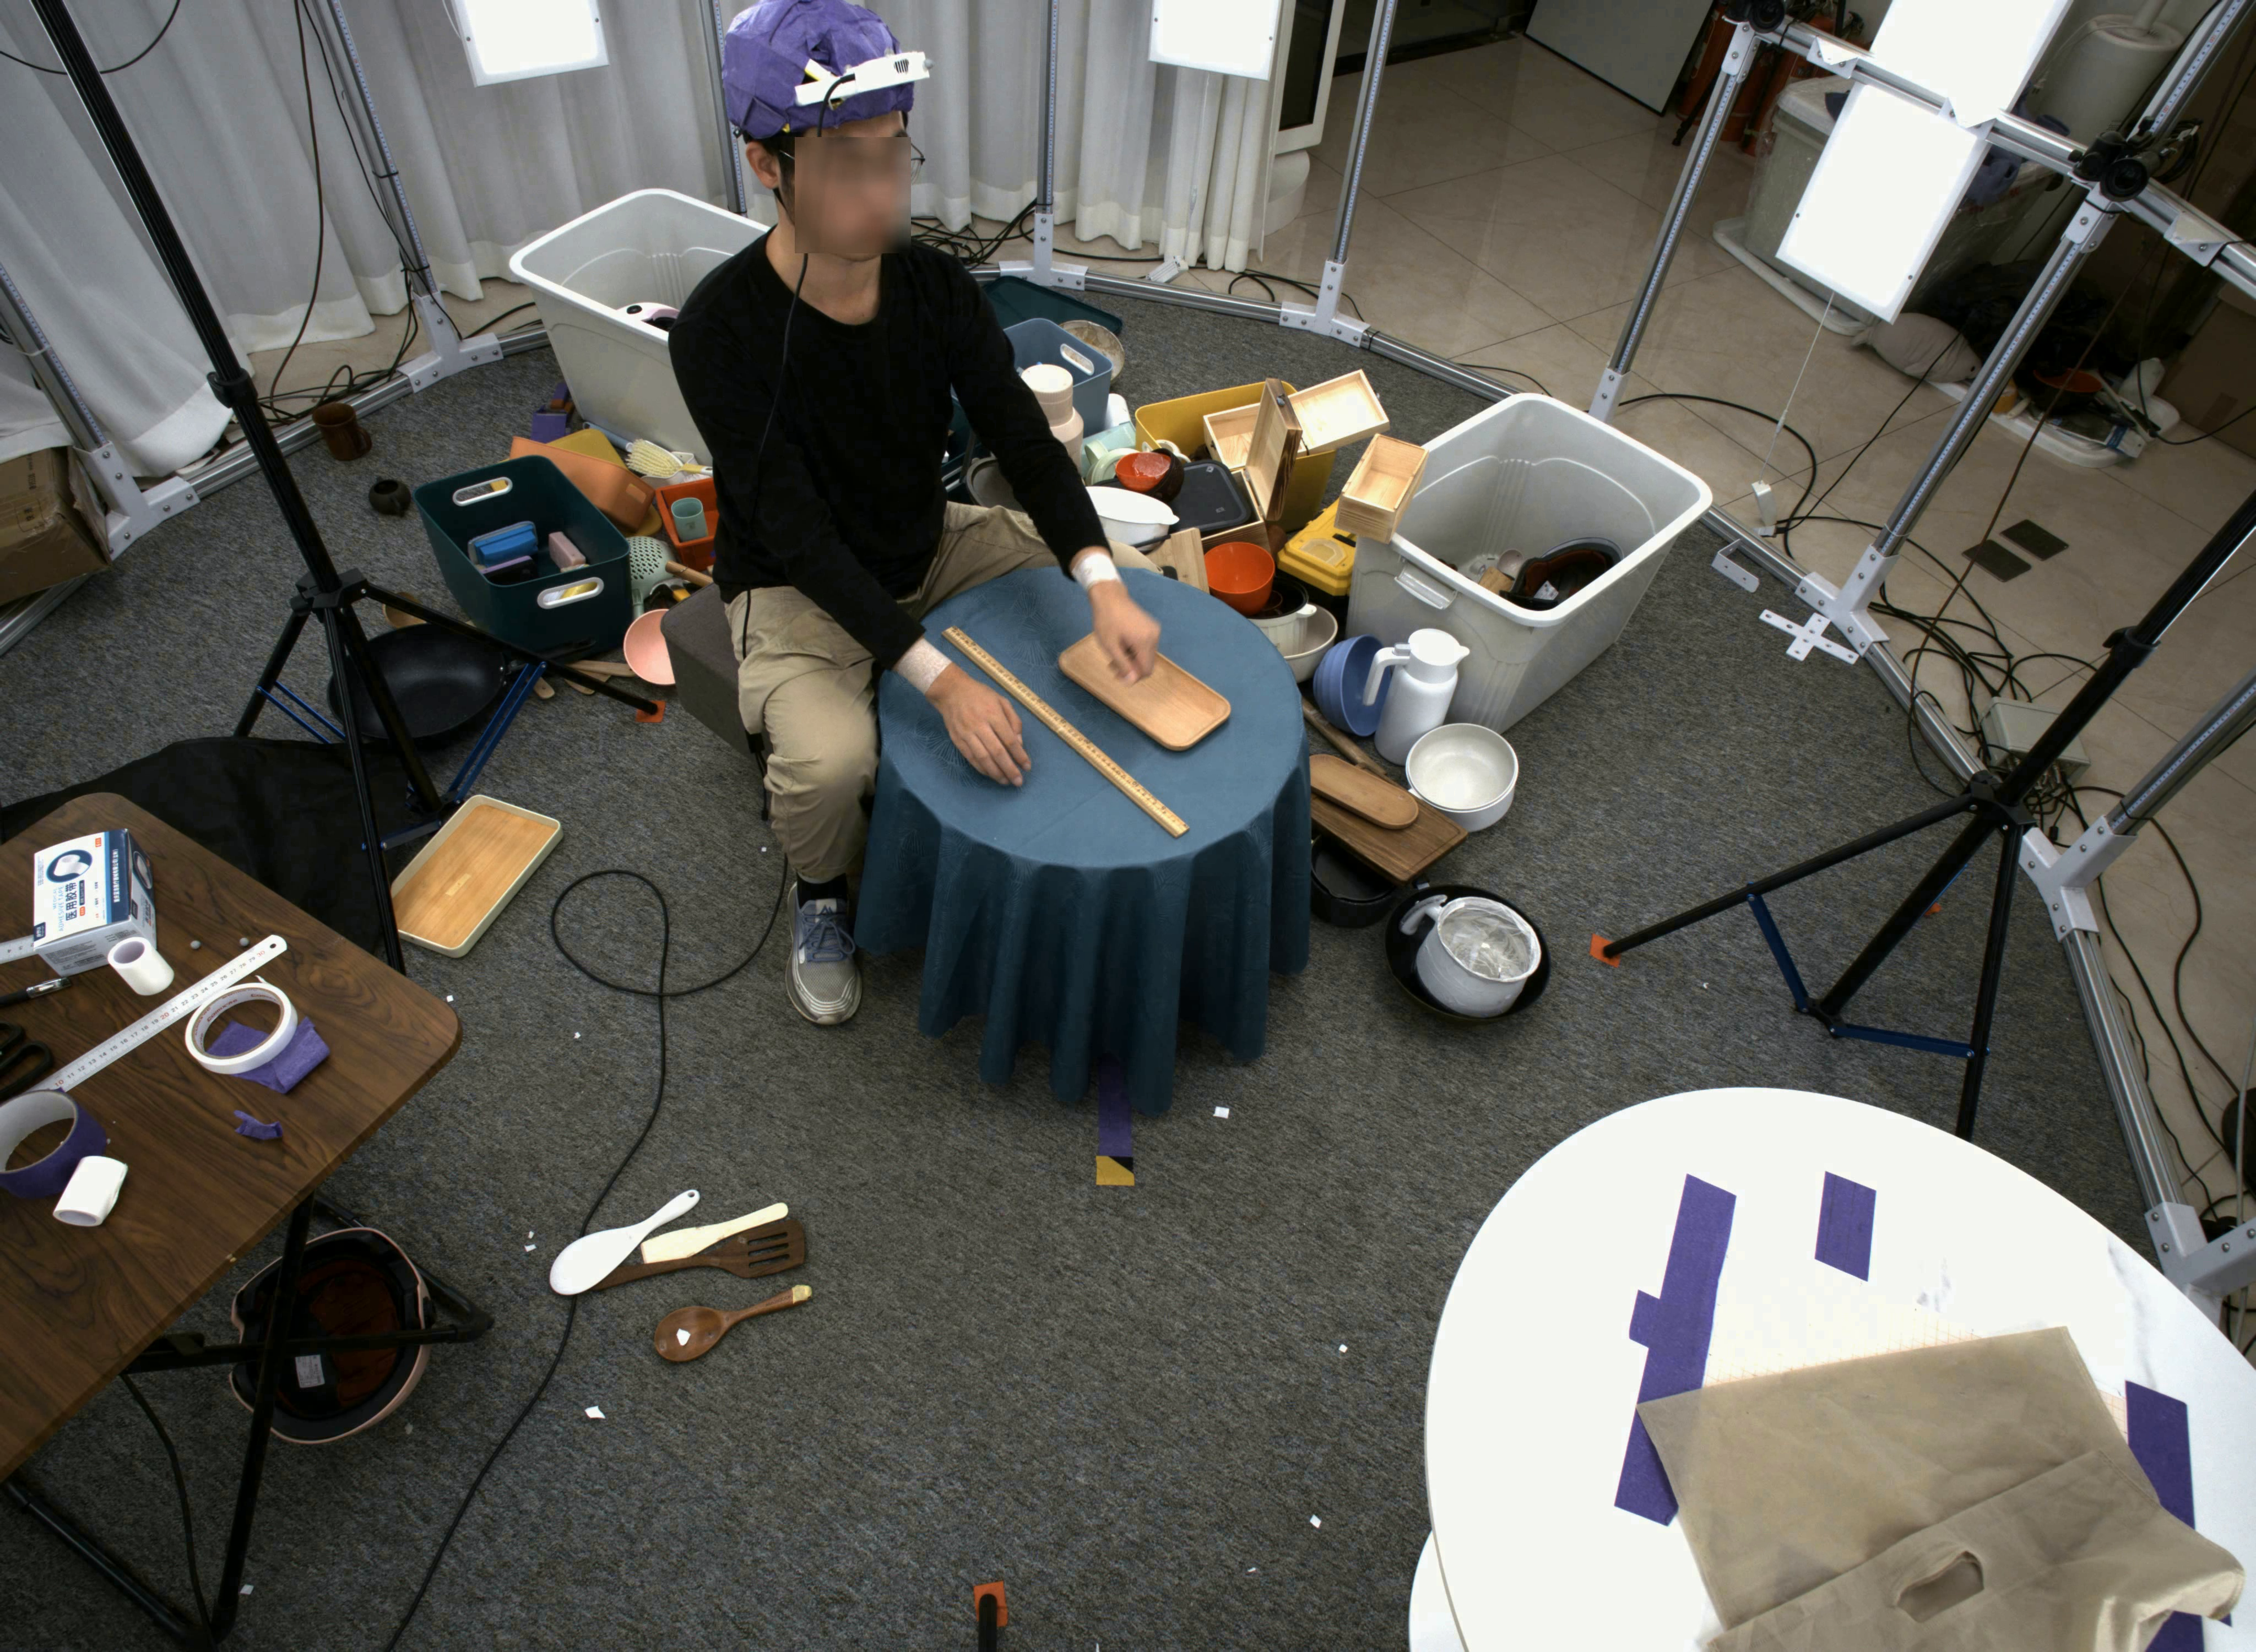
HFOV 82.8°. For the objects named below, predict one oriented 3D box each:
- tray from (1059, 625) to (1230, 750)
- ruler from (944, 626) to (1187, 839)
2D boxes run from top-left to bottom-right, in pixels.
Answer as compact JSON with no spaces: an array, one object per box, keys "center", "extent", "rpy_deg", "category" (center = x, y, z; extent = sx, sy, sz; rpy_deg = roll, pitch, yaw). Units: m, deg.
[{"center":[0.022,-0.201,1.835],"extent":[0.132,0.022,0.254],"rpy_deg":[-34,58,-31],"category":"tray"},{"center":[-0.095,-0.141,1.782],"extent":[0.027,0.006,0.509],"rpy_deg":[-31,57,-29],"category":"ruler"}]
